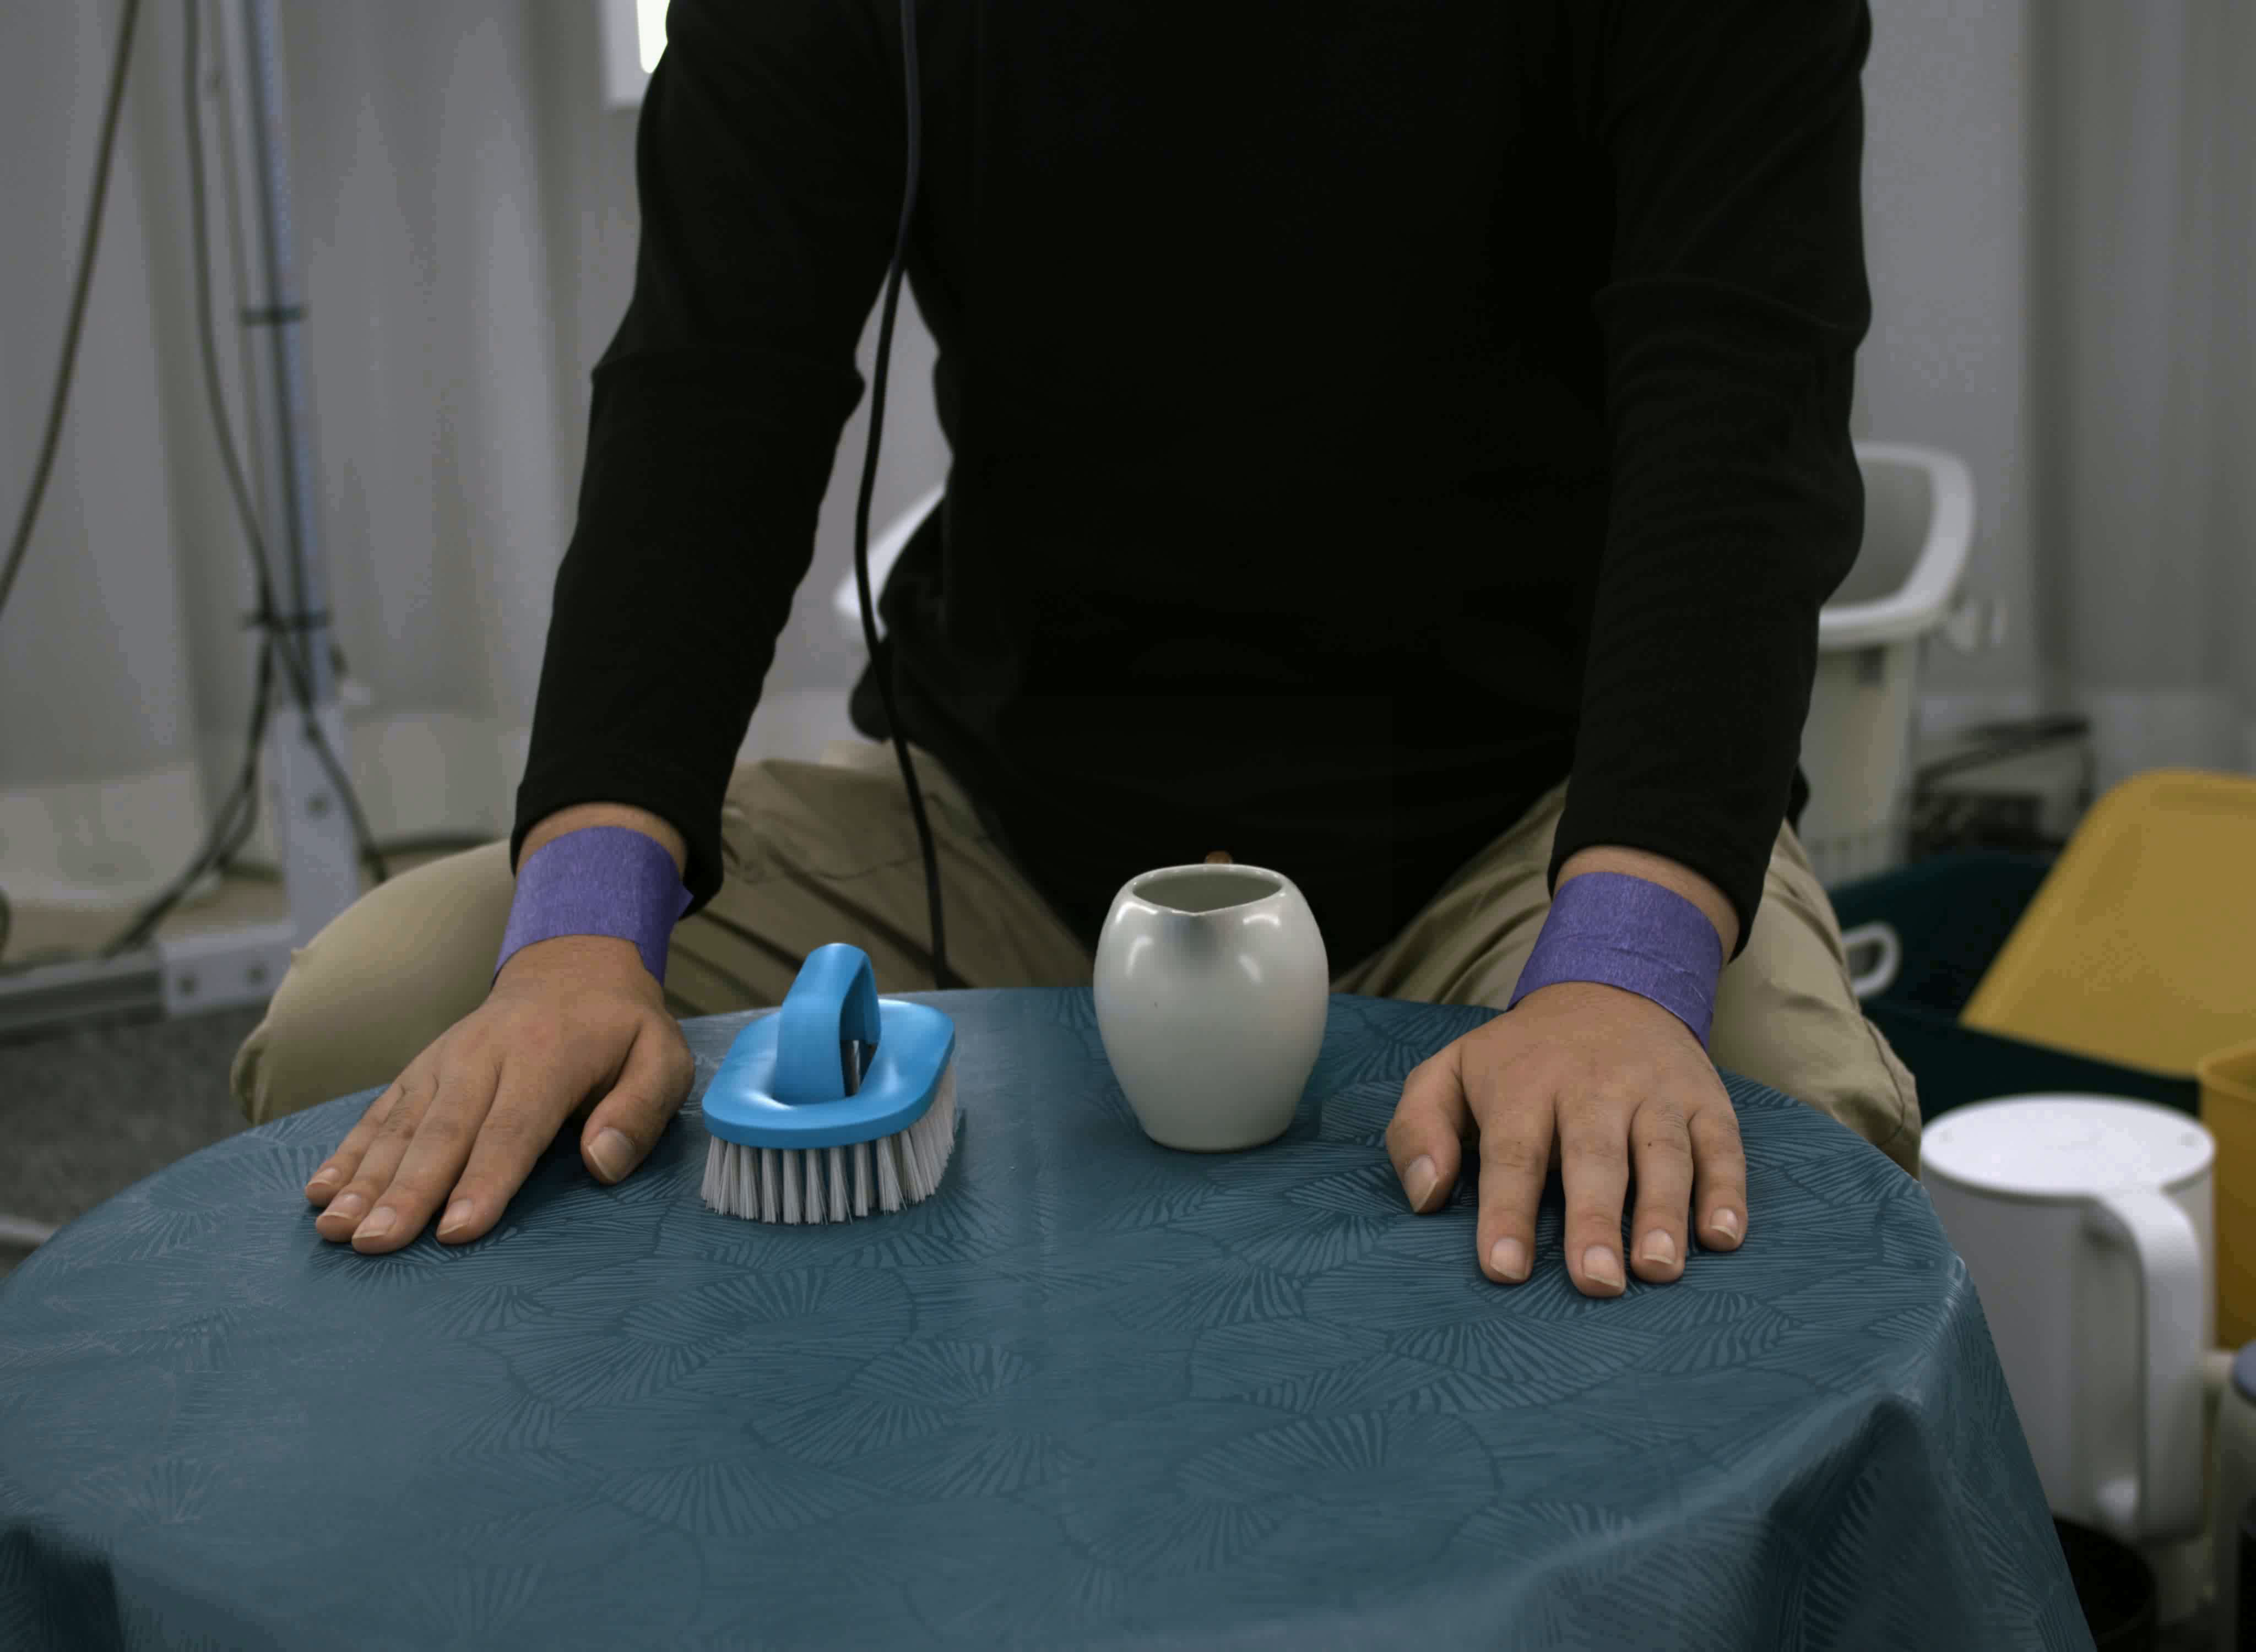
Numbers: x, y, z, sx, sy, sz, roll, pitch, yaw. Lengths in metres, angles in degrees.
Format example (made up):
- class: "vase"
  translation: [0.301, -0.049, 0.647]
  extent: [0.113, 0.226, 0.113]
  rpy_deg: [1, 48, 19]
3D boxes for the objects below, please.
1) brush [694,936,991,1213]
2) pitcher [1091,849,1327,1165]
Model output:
- class: "brush"
  translation: [-0.093, 0.074, 1.759]
  extent: [0.084, 0.063, 0.142]
  rpy_deg: [-5, 13, 8]
- class: "pitcher"
  translation: [0.027, 0.057, 1.757]
  extent: [0.076, 0.087, 0.120]
  rpy_deg: [5, 19, 8]
